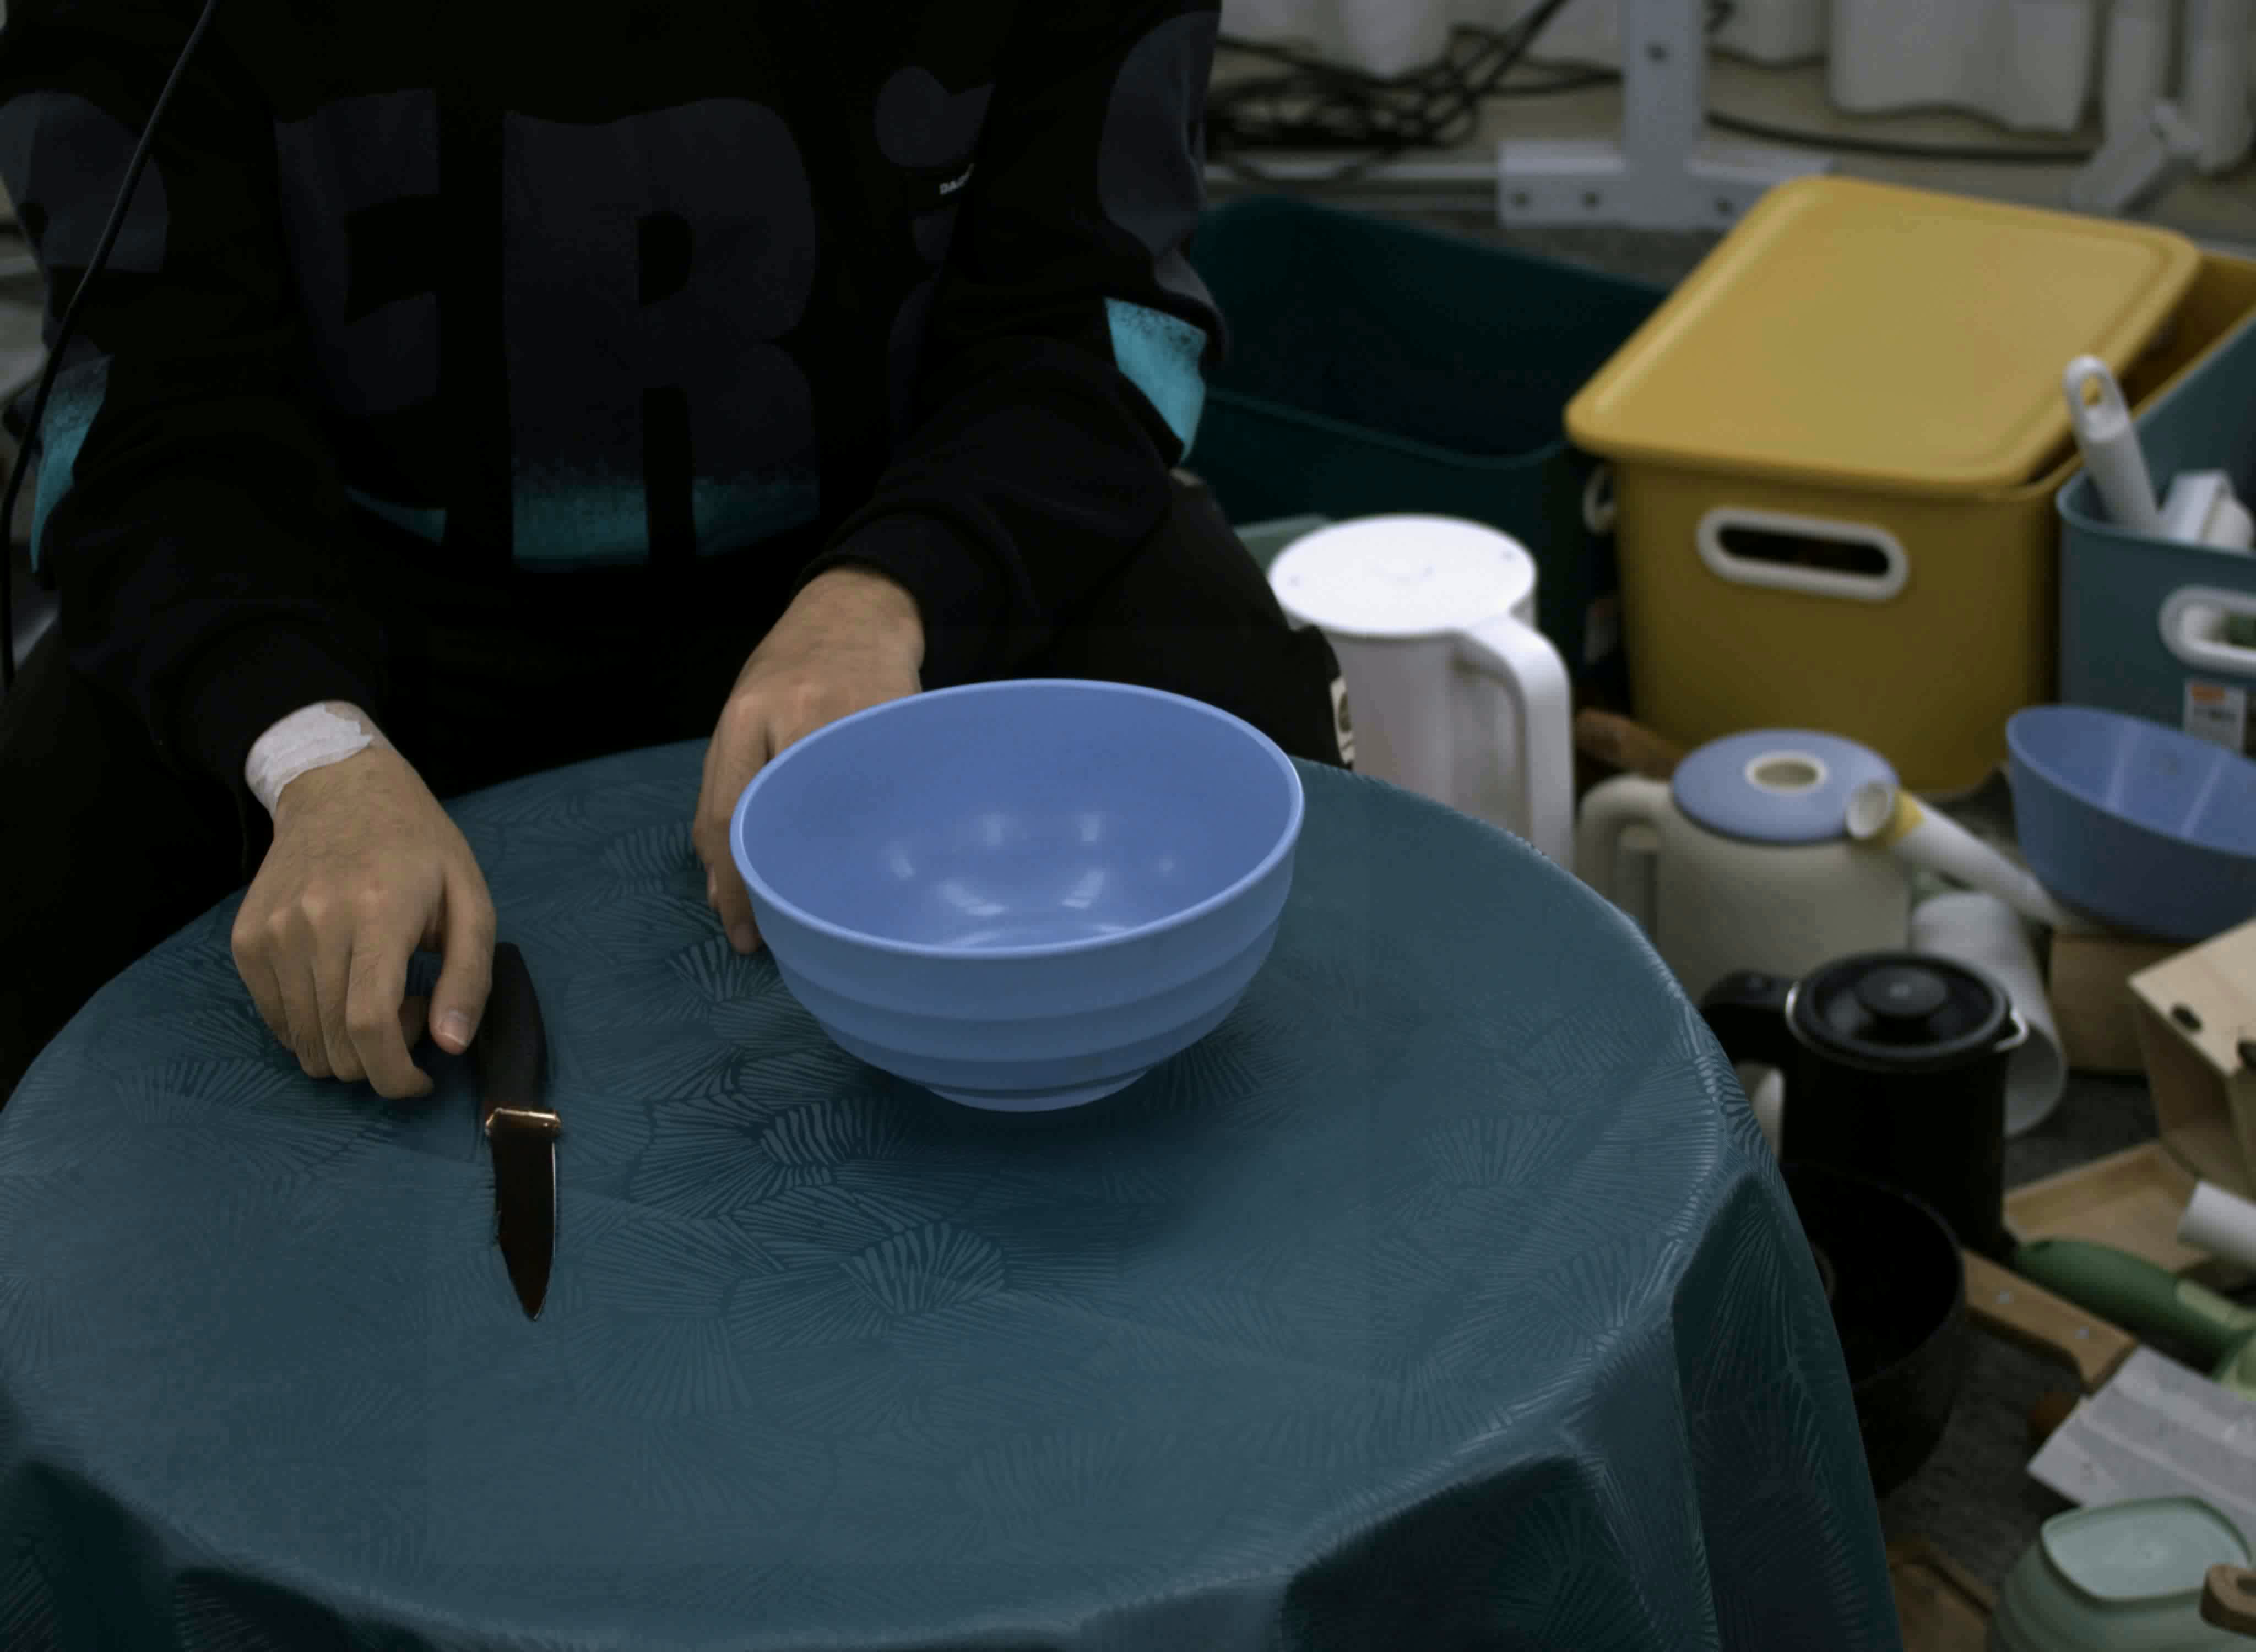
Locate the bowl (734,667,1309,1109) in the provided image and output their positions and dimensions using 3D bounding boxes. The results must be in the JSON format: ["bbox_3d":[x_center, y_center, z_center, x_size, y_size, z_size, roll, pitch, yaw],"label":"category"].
[{"bbox_3d":[-0.035,0.033,1.929,0.195,0.094,0.200,-1,30,1],"label":"bowl"}]

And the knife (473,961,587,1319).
[{"bbox_3d":[-0.204,0.105,1.902,0.026,0.017,0.228,-2,28,-10],"label":"knife"}]
